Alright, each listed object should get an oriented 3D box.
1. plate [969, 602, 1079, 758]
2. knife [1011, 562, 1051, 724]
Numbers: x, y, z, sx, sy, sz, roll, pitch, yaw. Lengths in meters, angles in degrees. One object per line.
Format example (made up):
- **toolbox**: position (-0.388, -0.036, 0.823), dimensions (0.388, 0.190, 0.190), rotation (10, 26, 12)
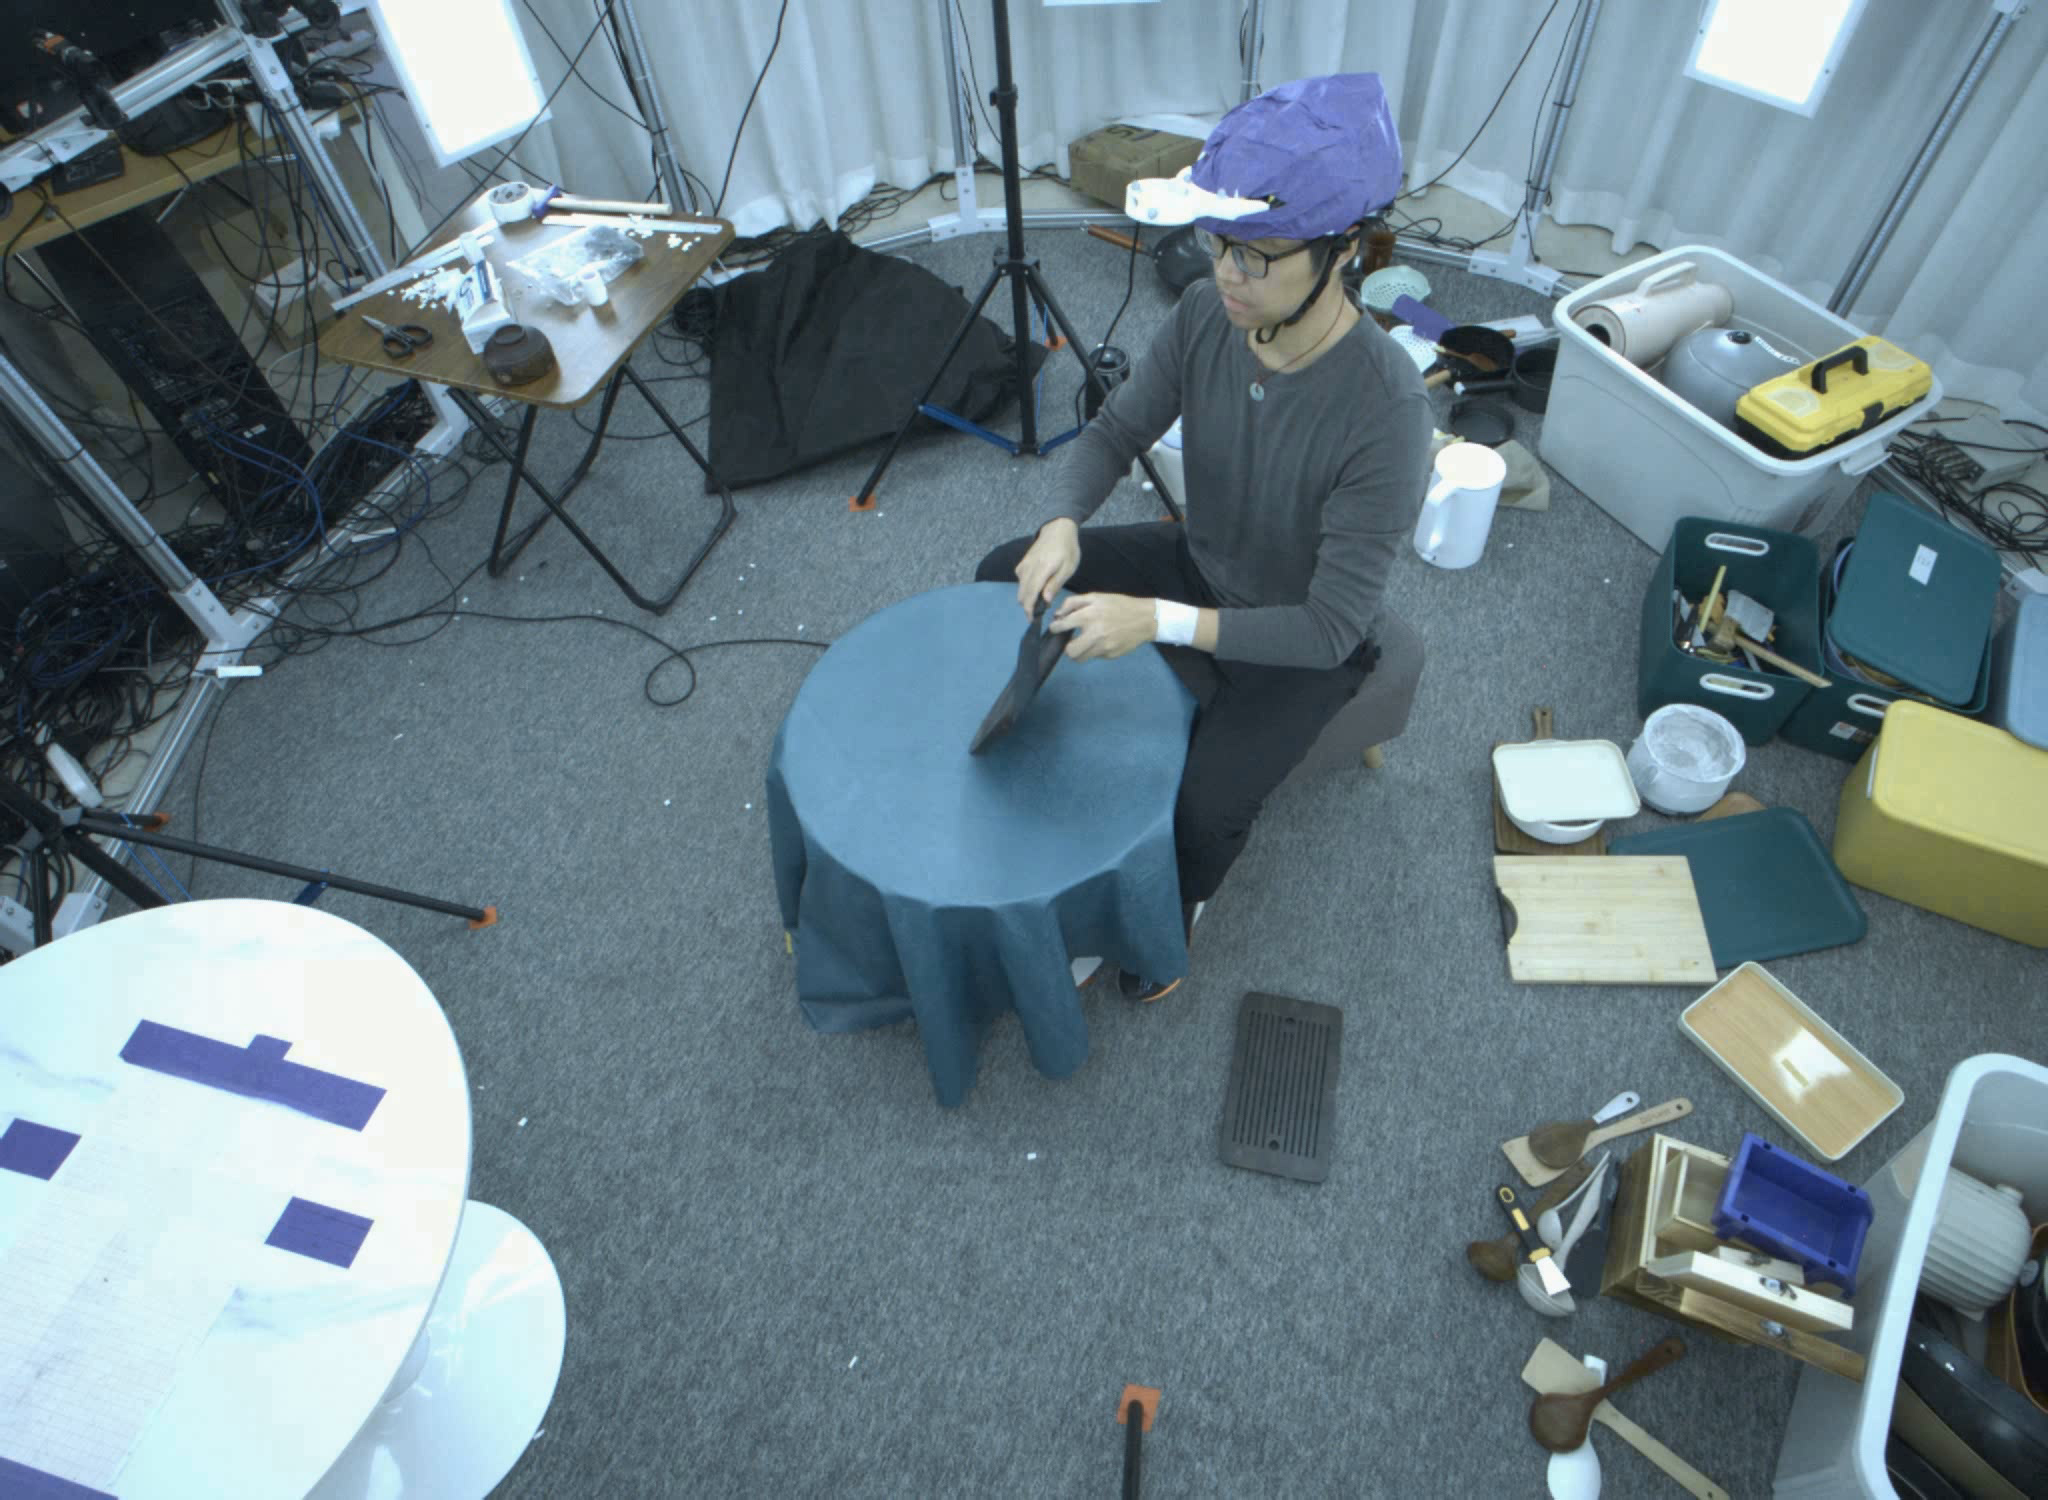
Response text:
- **plate**: position (0.001, -0.094, 1.730), dimensions (0.029, 0.253, 0.255), rotation (33, 59, -7)
- **knife**: position (0.009, -0.153, 1.653), dimensions (0.021, 0.080, 0.300), rotation (24, 45, -17)
